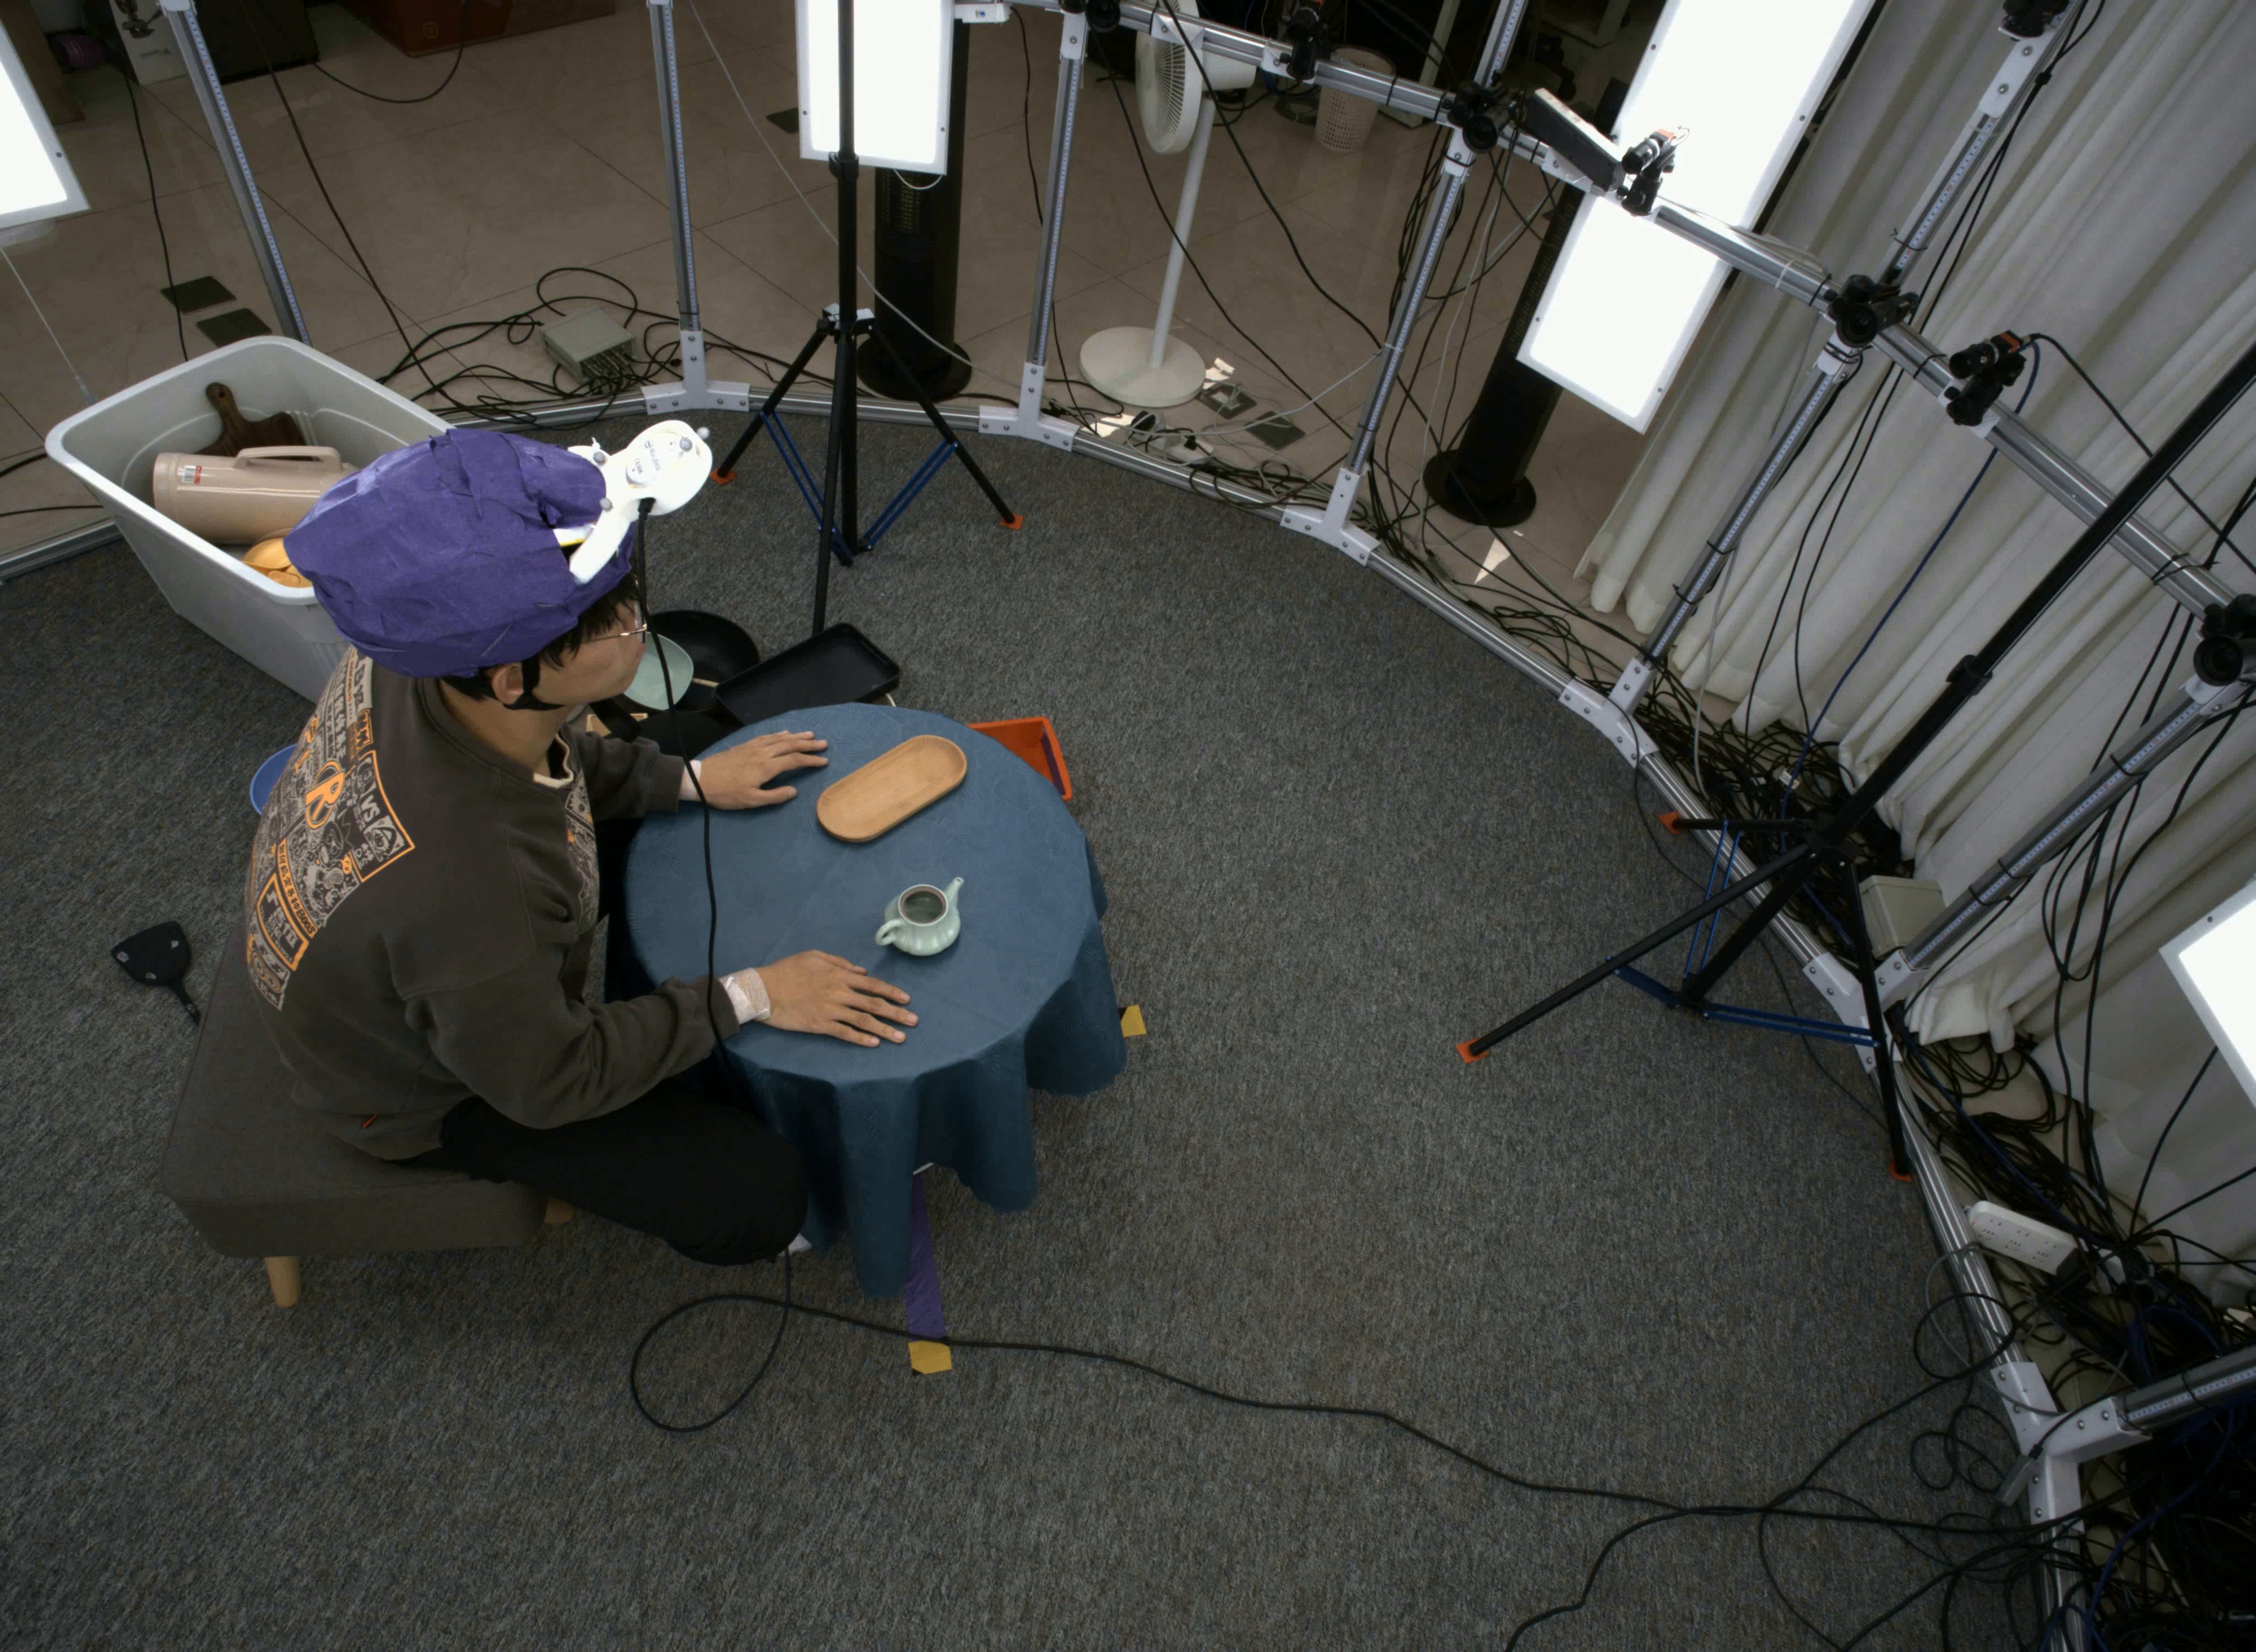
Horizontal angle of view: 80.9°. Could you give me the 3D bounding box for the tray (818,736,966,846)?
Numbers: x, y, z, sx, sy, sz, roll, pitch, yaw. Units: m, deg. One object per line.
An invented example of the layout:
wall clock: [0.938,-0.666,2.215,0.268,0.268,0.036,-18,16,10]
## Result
tray: [-0.323,-0.050,1.789,0.099,0.021,0.231,42,57,17]

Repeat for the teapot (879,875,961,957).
teapot: [-0.264,0.117,1.653,0.094,0.062,0.137,41,55,16]
